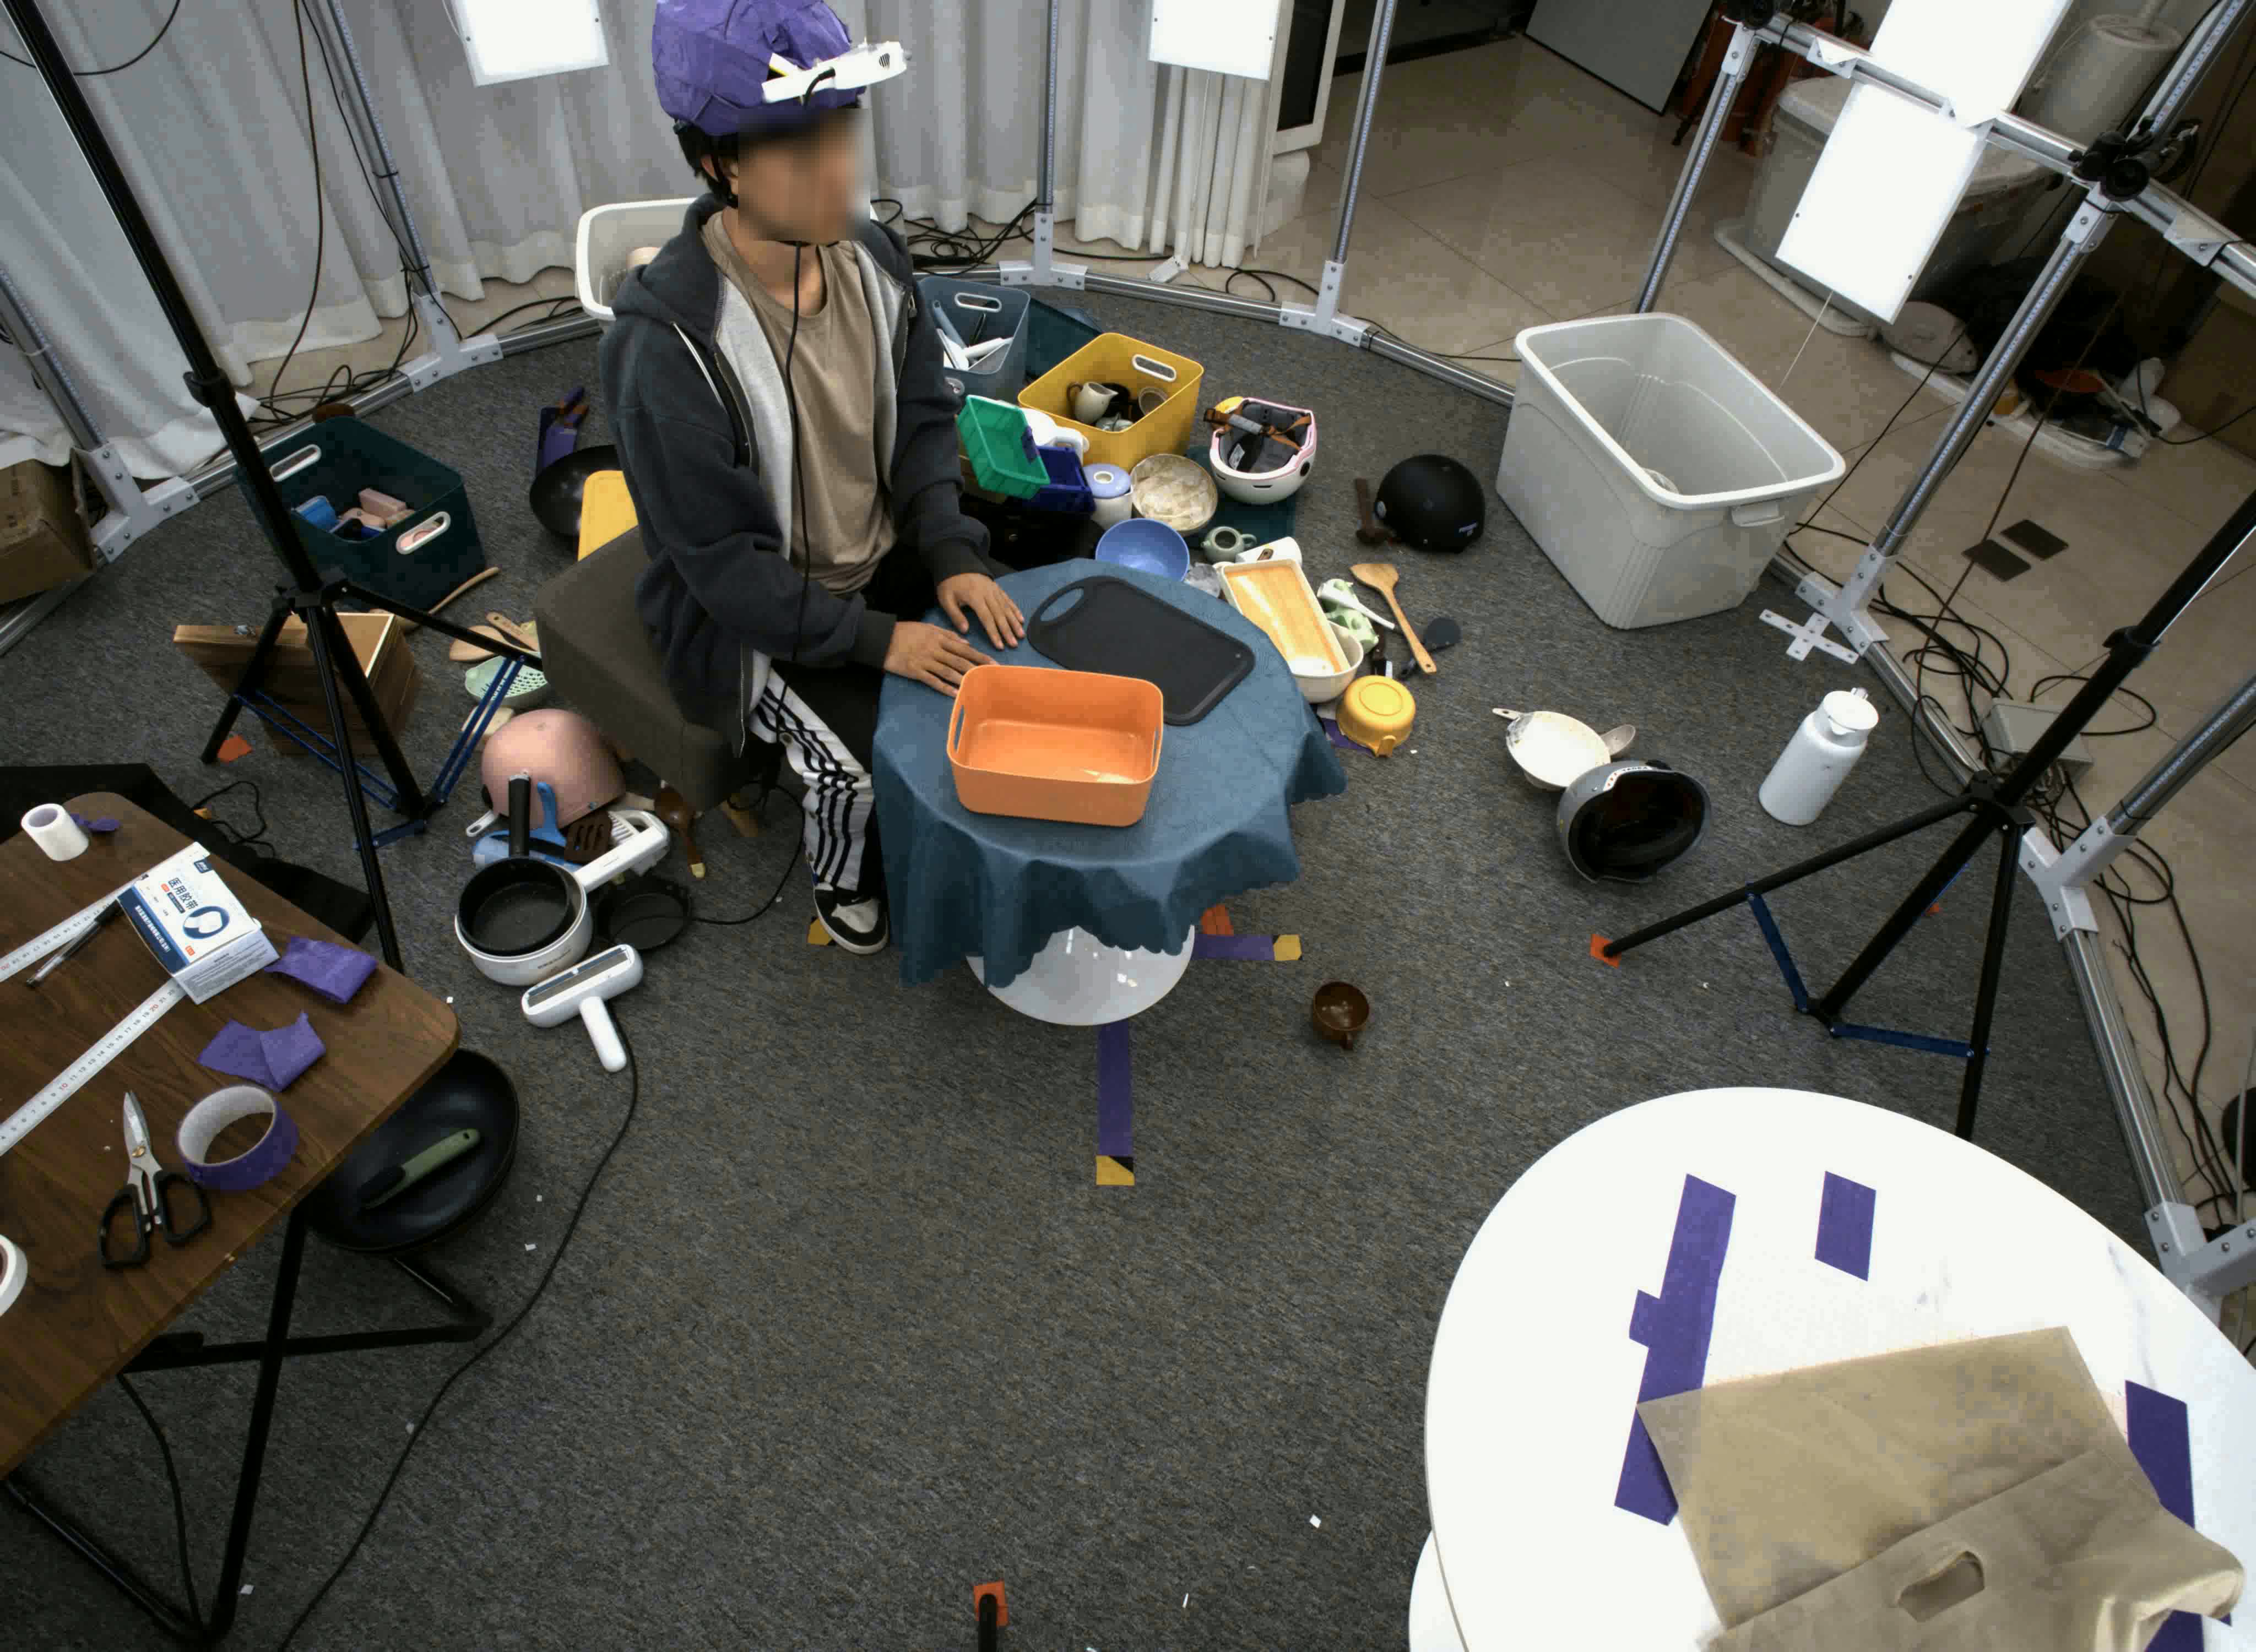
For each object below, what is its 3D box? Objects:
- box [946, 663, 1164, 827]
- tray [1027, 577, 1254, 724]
[{"bbox_3d":[-0.093,-0.104,1.682,0.273,0.100,0.204,6,49,0],"label":"box"},{"bbox_3d":[0.011,-0.269,1.897,0.329,0.009,0.214,31,53,21],"label":"tray"}]
